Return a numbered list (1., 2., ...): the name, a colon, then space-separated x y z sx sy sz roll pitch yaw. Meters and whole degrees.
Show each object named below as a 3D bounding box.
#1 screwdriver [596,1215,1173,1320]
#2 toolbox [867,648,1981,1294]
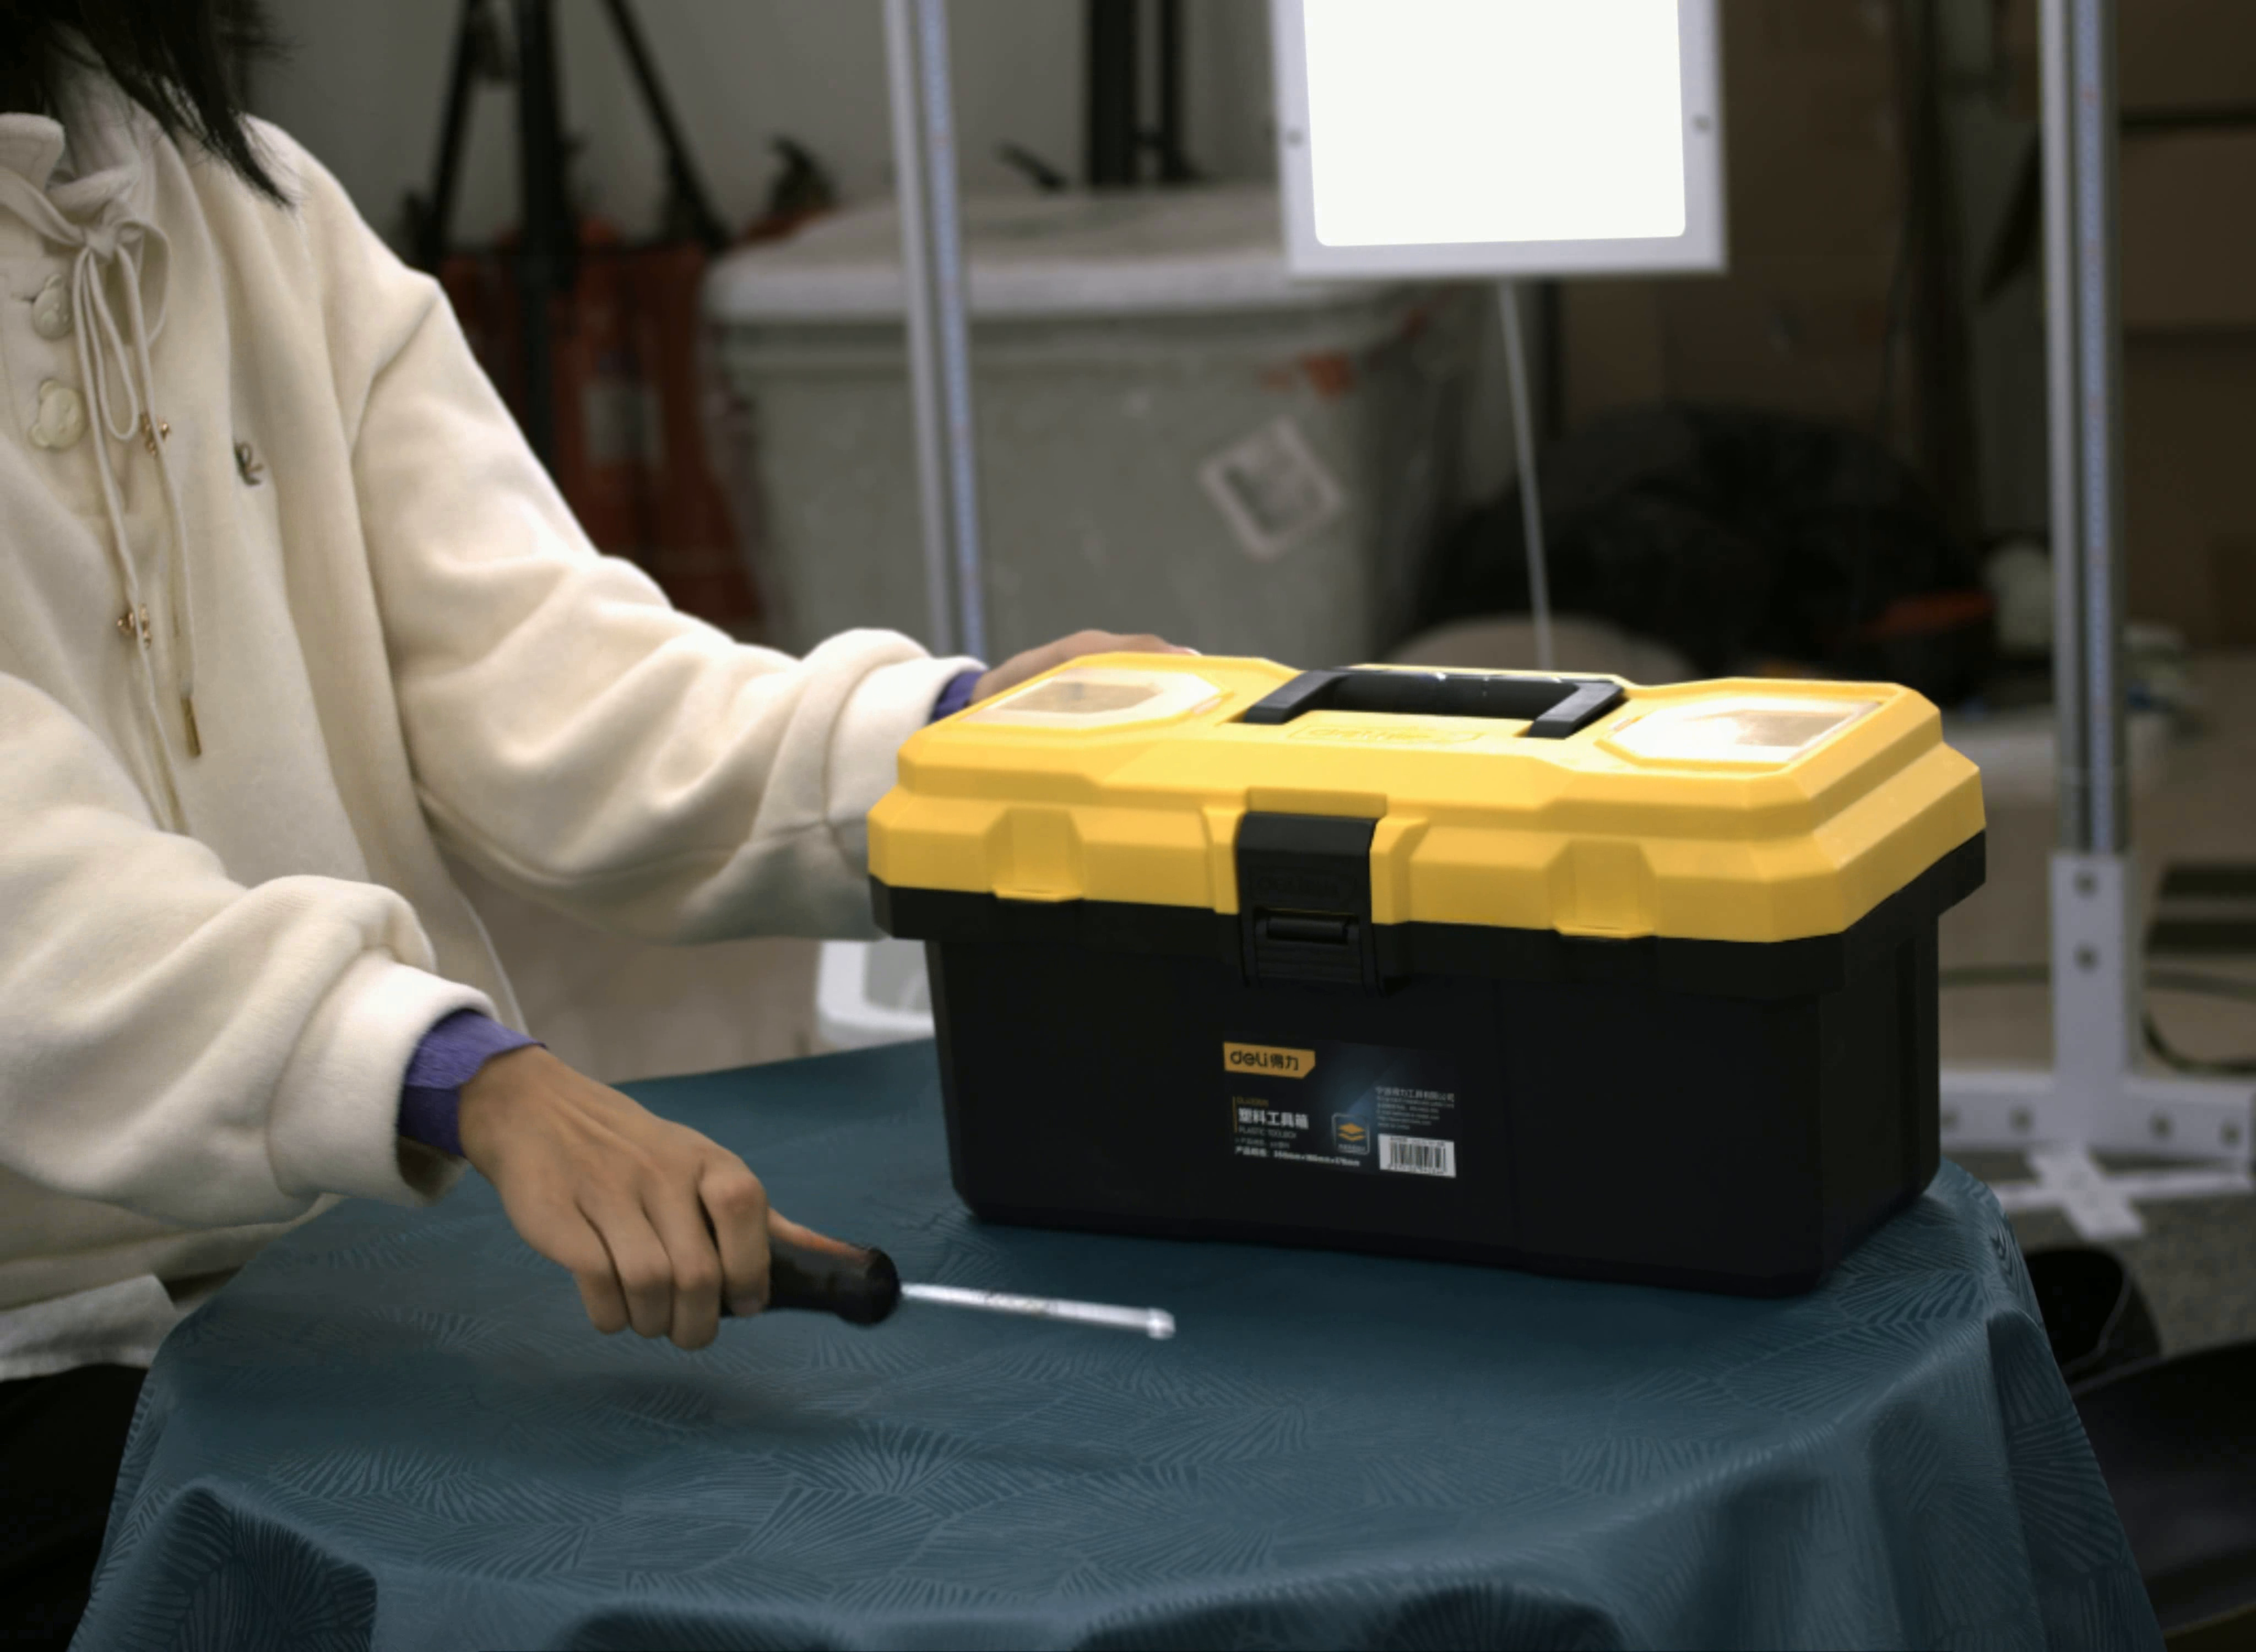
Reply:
1. screwdriver: -0.077 0.138 1.685 0.200 0.031 0.031 2 15 30
2. toolbox: 0.099 0.044 1.833 0.358 0.173 0.177 3 16 30
